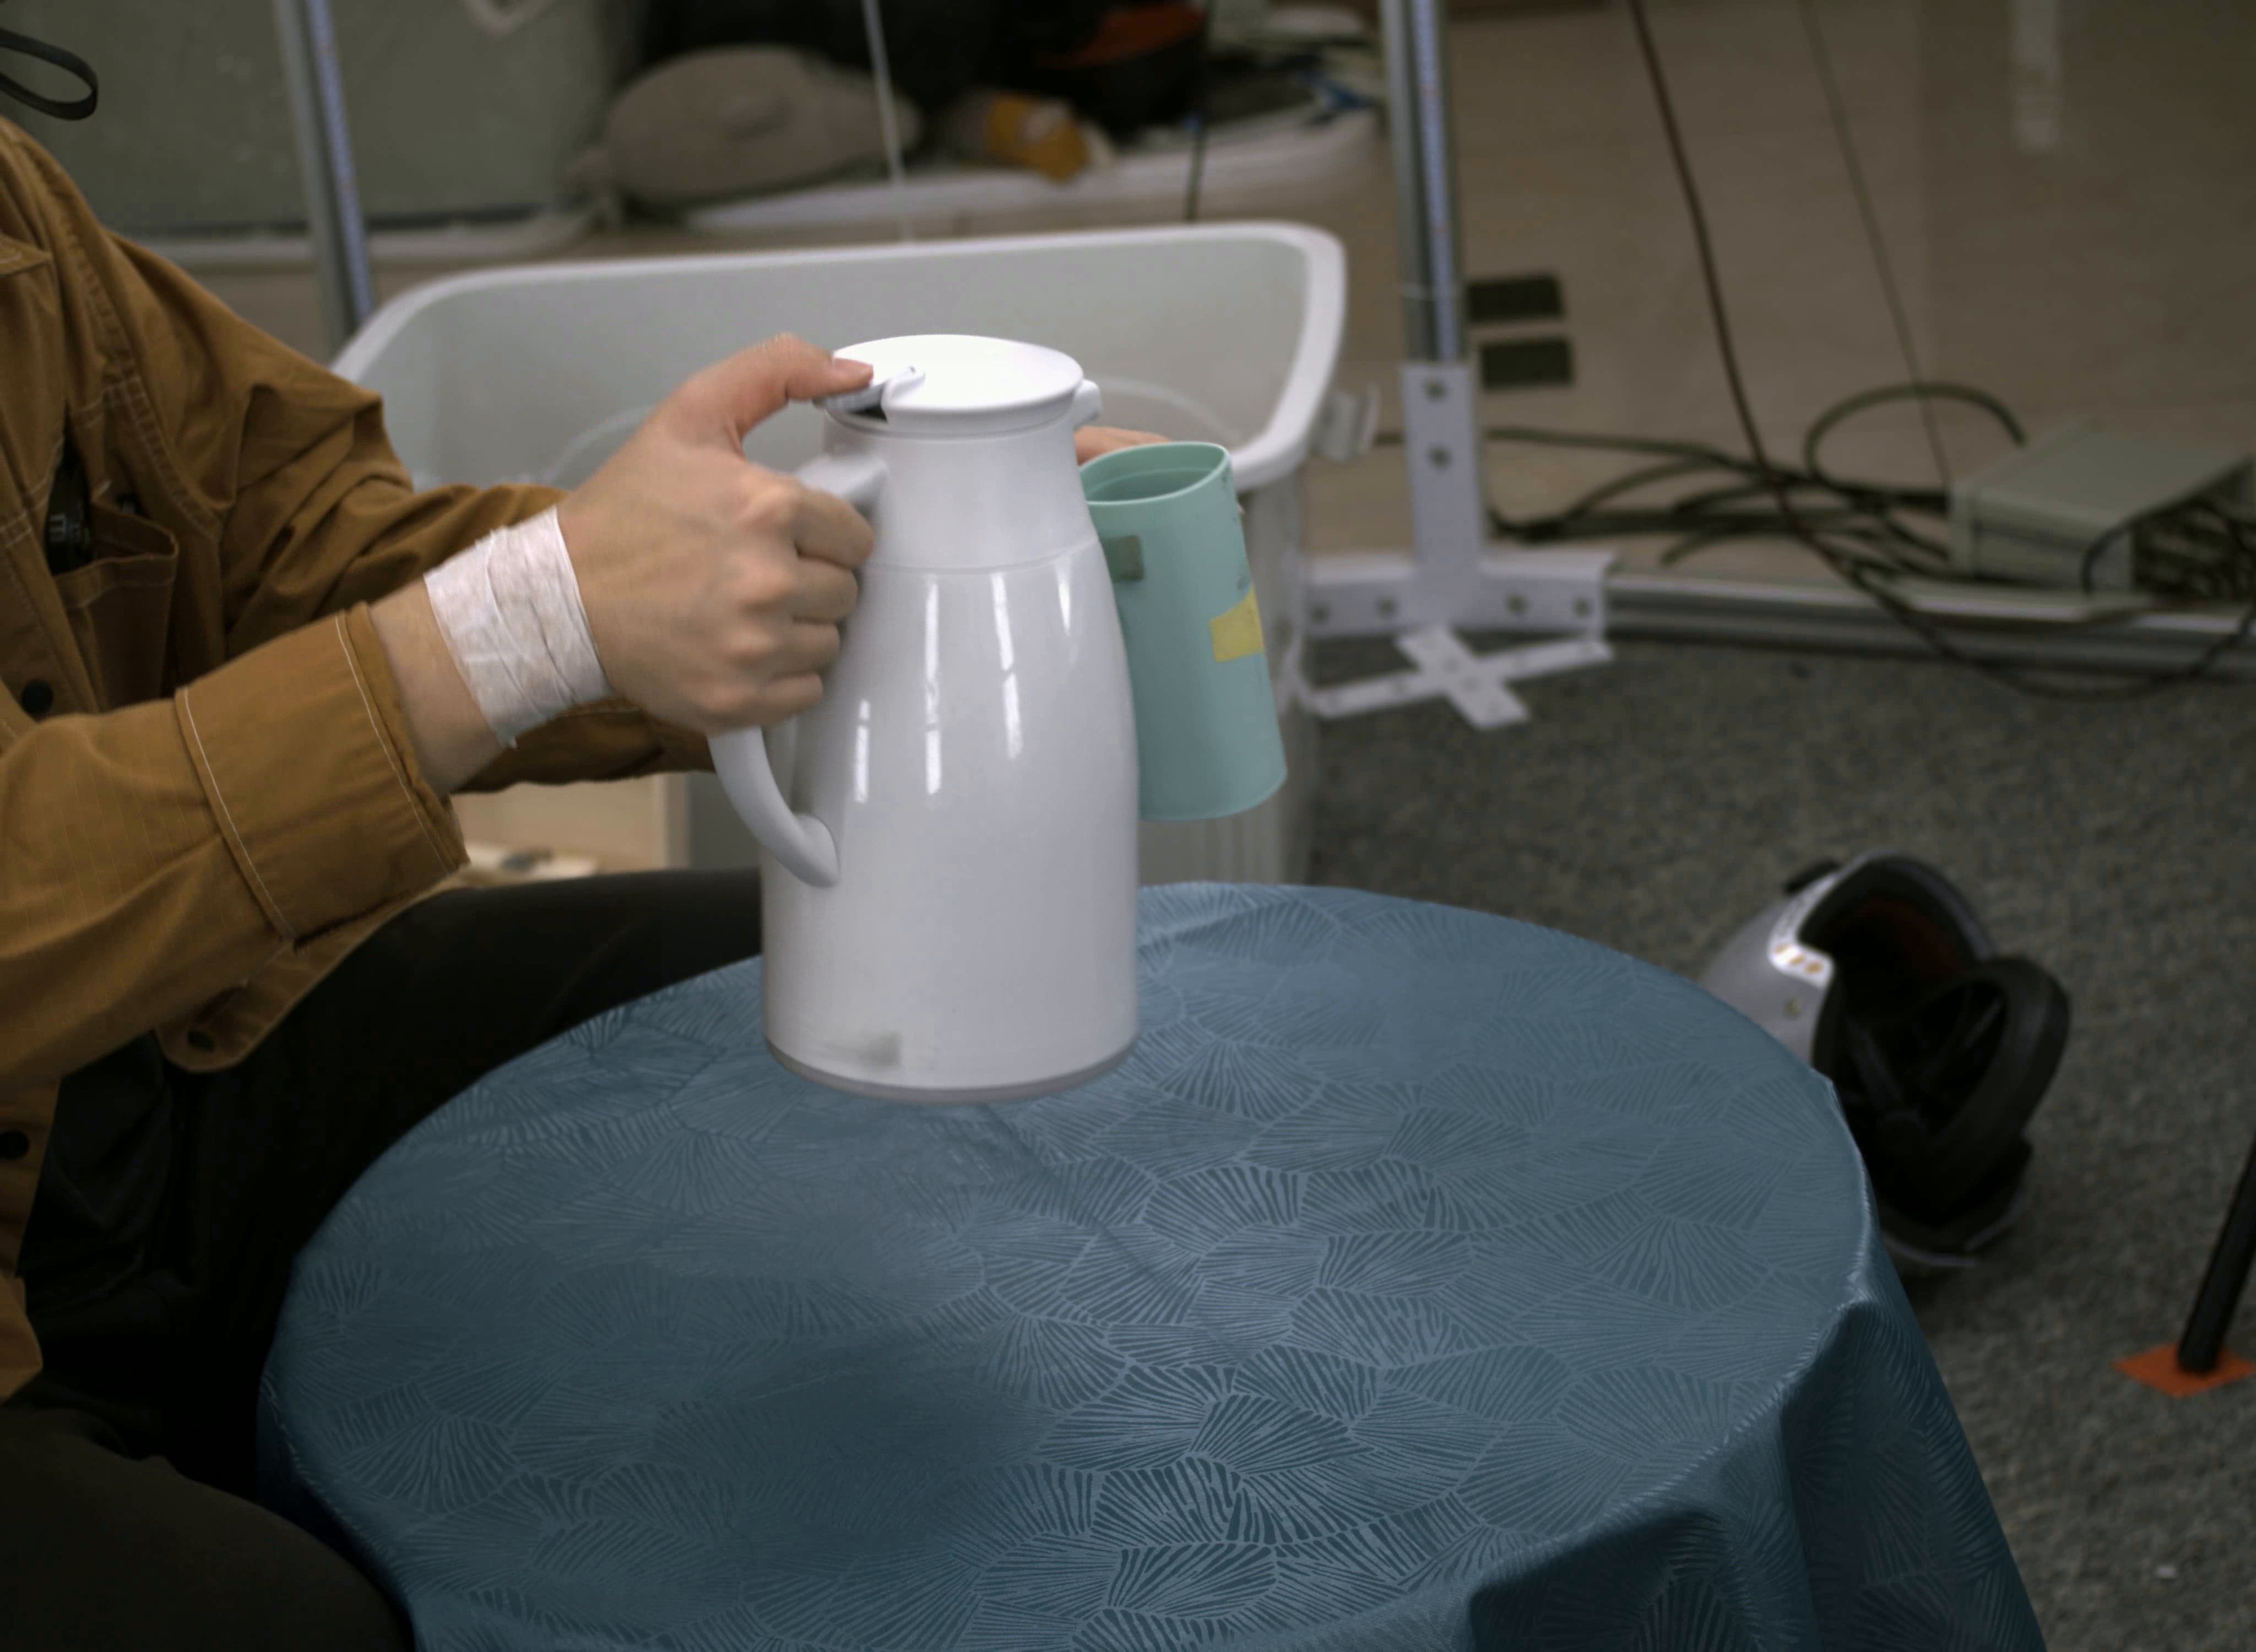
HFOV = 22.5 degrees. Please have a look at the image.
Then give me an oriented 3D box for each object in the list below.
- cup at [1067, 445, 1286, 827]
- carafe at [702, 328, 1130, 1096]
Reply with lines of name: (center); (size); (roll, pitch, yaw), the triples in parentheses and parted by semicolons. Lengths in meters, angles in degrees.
cup: (0.017, -0.072, 2.137); (0.066, 0.134, 0.066); (-9, 24, 4)
carafe: (-0.076, -0.041, 1.927); (0.131, 0.252, 0.166); (19, 27, 40)
